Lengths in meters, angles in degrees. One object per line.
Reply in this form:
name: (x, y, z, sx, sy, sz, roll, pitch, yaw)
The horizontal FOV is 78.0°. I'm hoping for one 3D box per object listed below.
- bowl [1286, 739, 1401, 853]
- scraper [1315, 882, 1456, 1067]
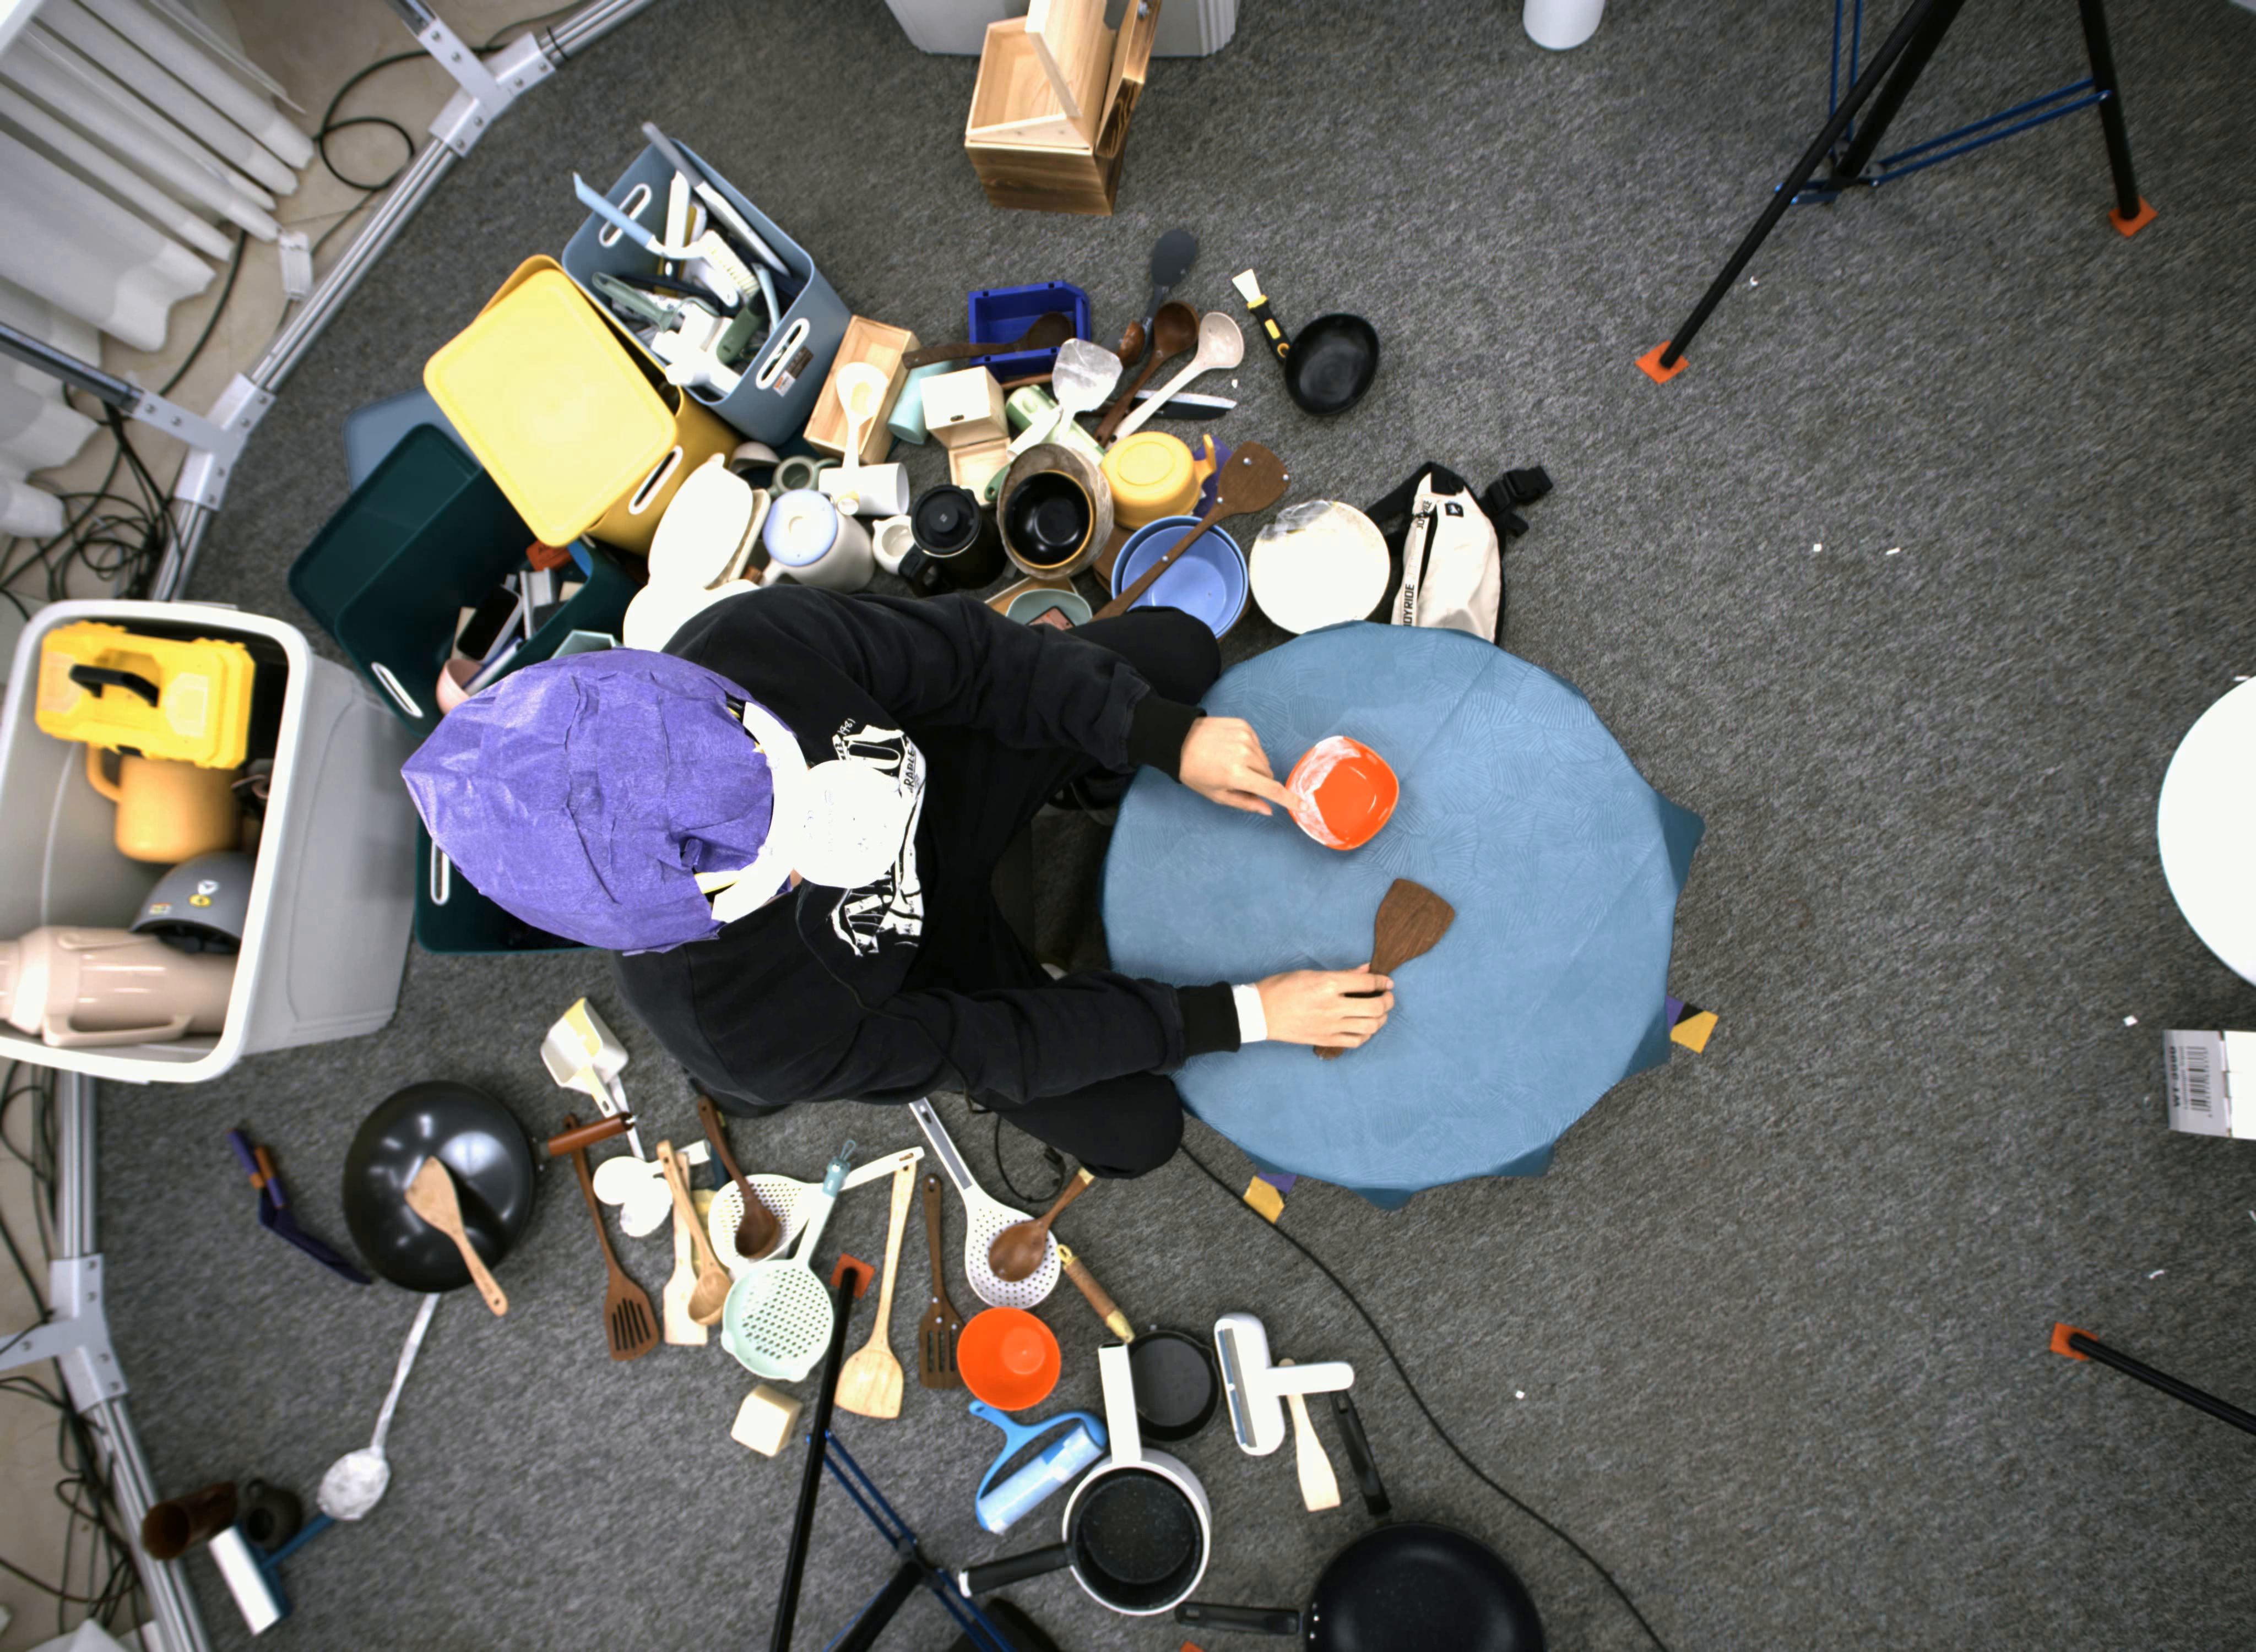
bowl: (0.226, -0.030, 1.455, 0.119, 0.051, 0.118, -1, 87, 9)
scraper: (0.262, 0.159, 1.456, 0.075, 0.011, 0.212, 33, 93, 12)
